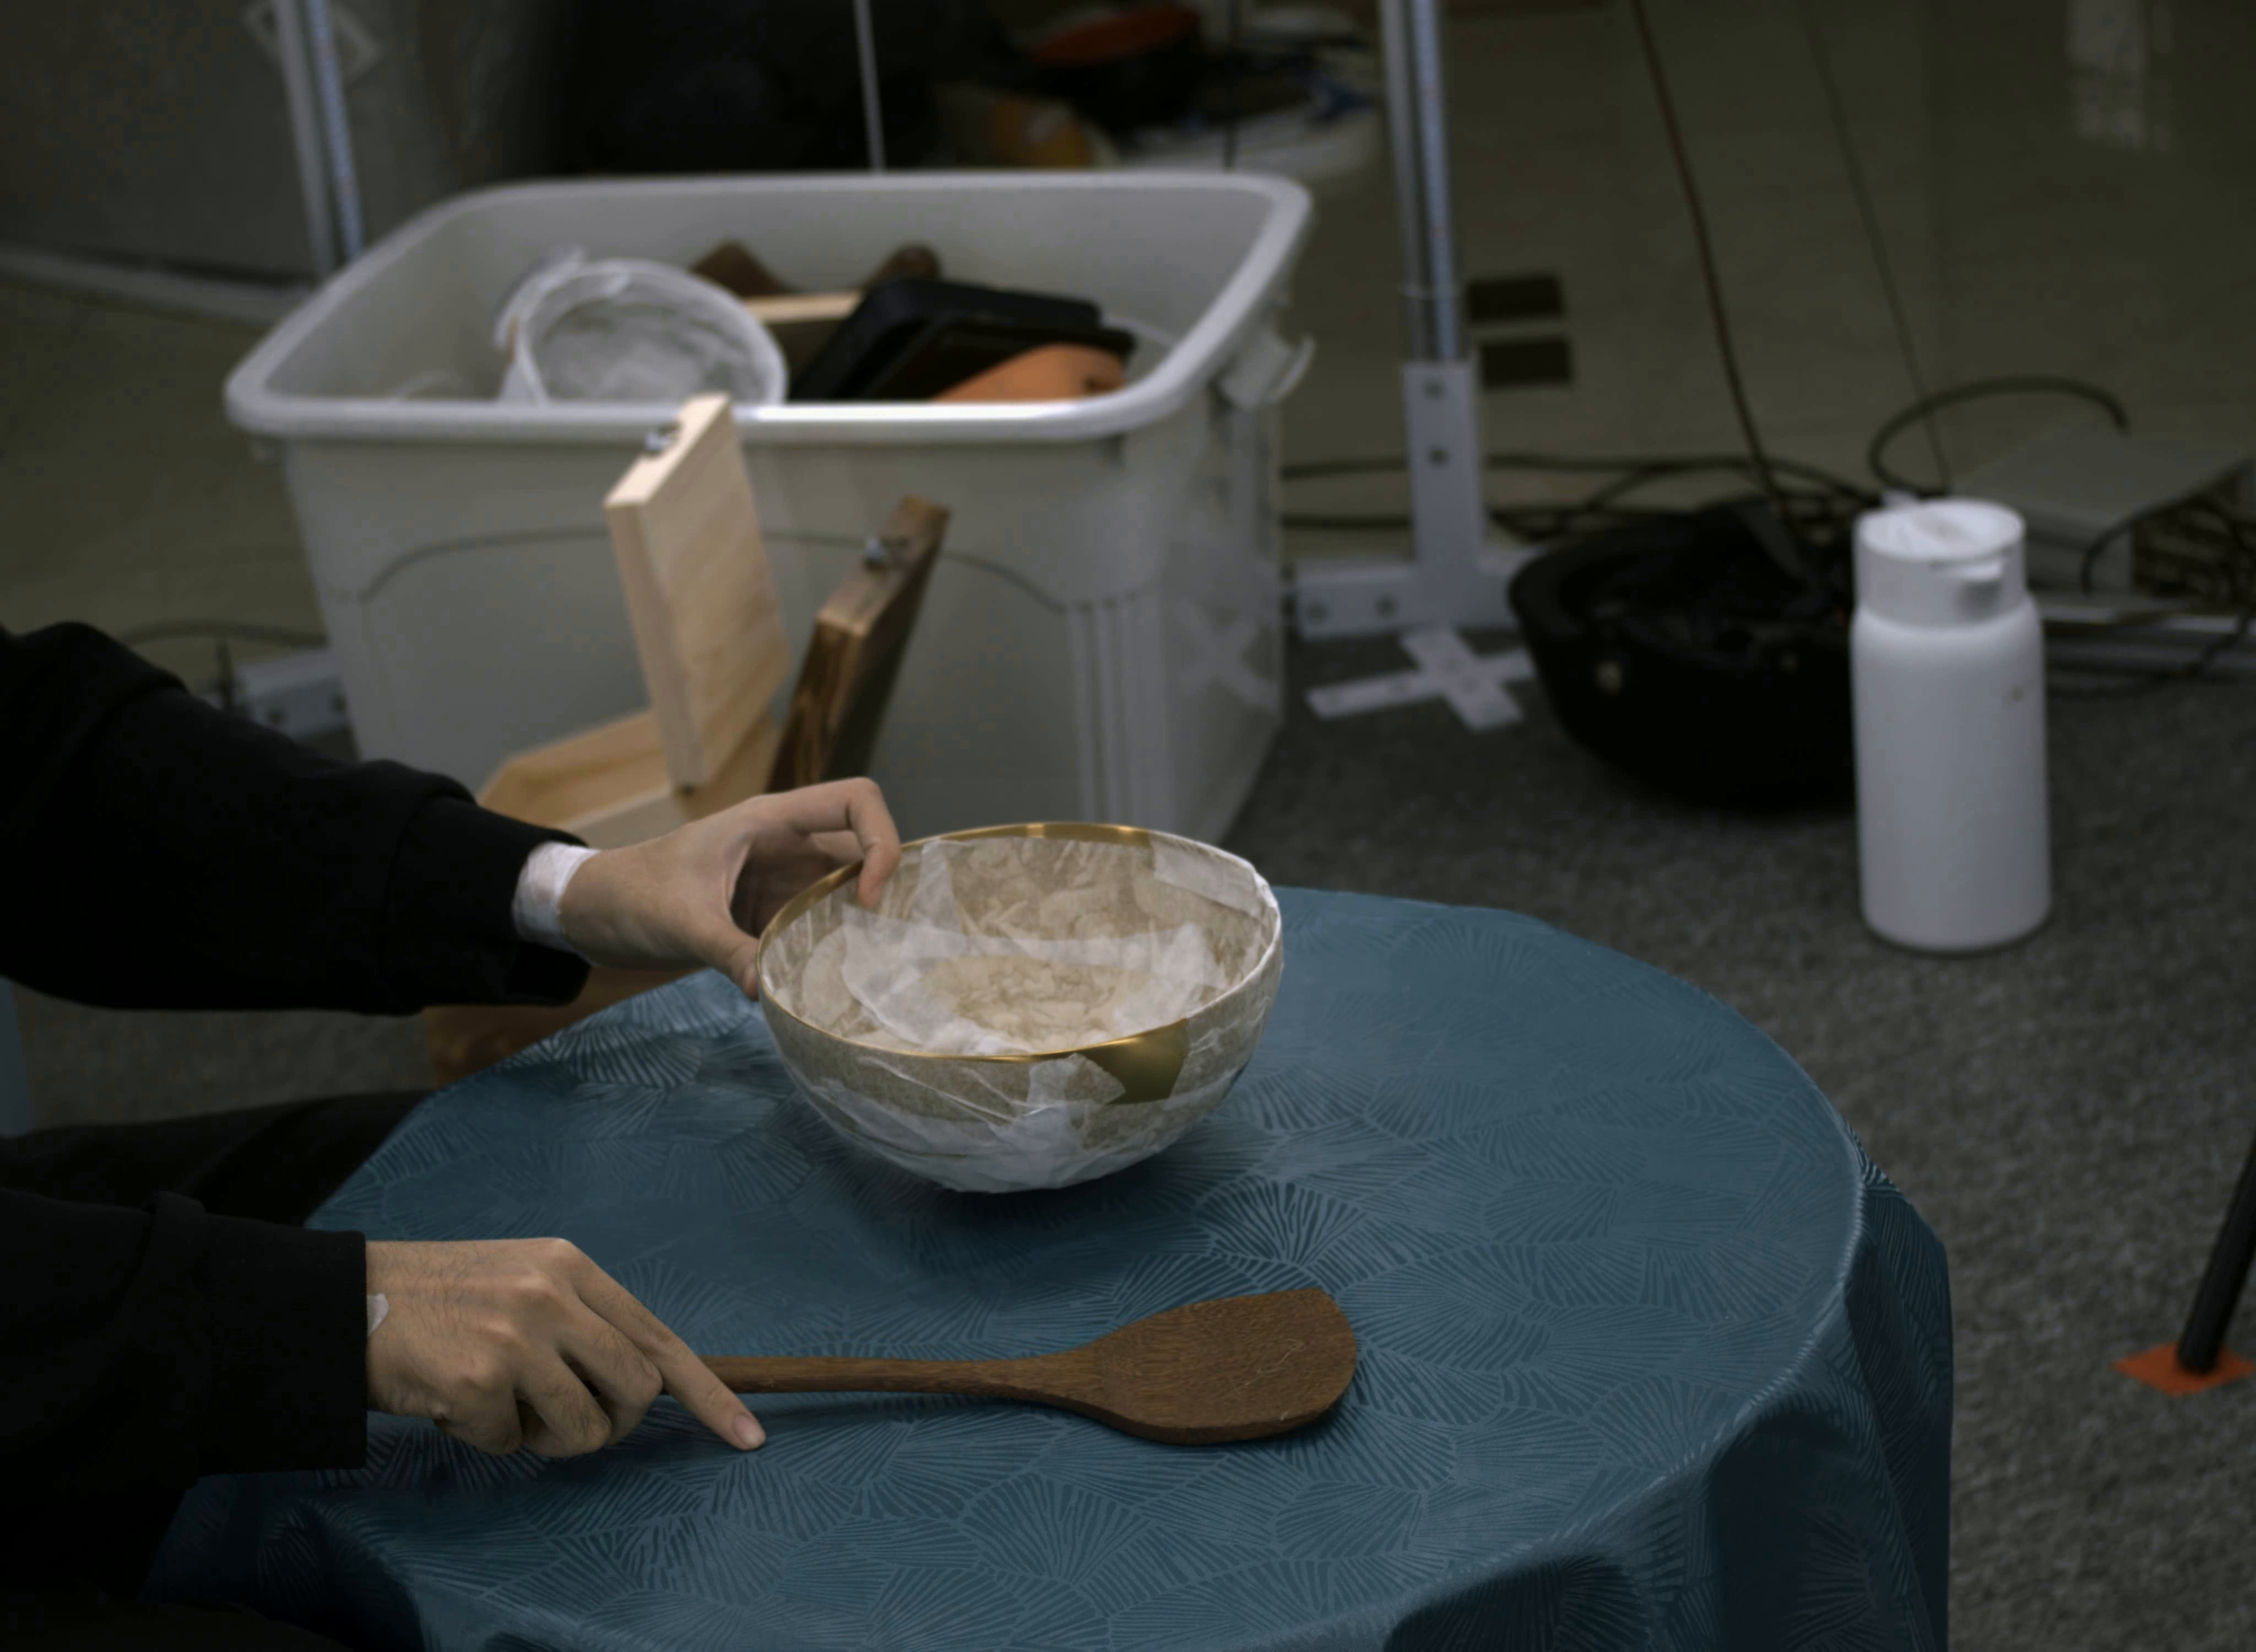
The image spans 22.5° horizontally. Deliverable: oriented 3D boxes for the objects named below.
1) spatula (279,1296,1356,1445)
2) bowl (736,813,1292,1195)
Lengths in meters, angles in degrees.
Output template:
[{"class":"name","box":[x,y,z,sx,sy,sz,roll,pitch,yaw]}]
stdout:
[{"class":"spatula","box":[-0.112,0.196,2.022,0.385,0.016,0.095,-1,25,2]},{"class":"bowl","box":[-0.040,0.081,2.175,0.214,0.096,0.211,-5,27,3]}]
